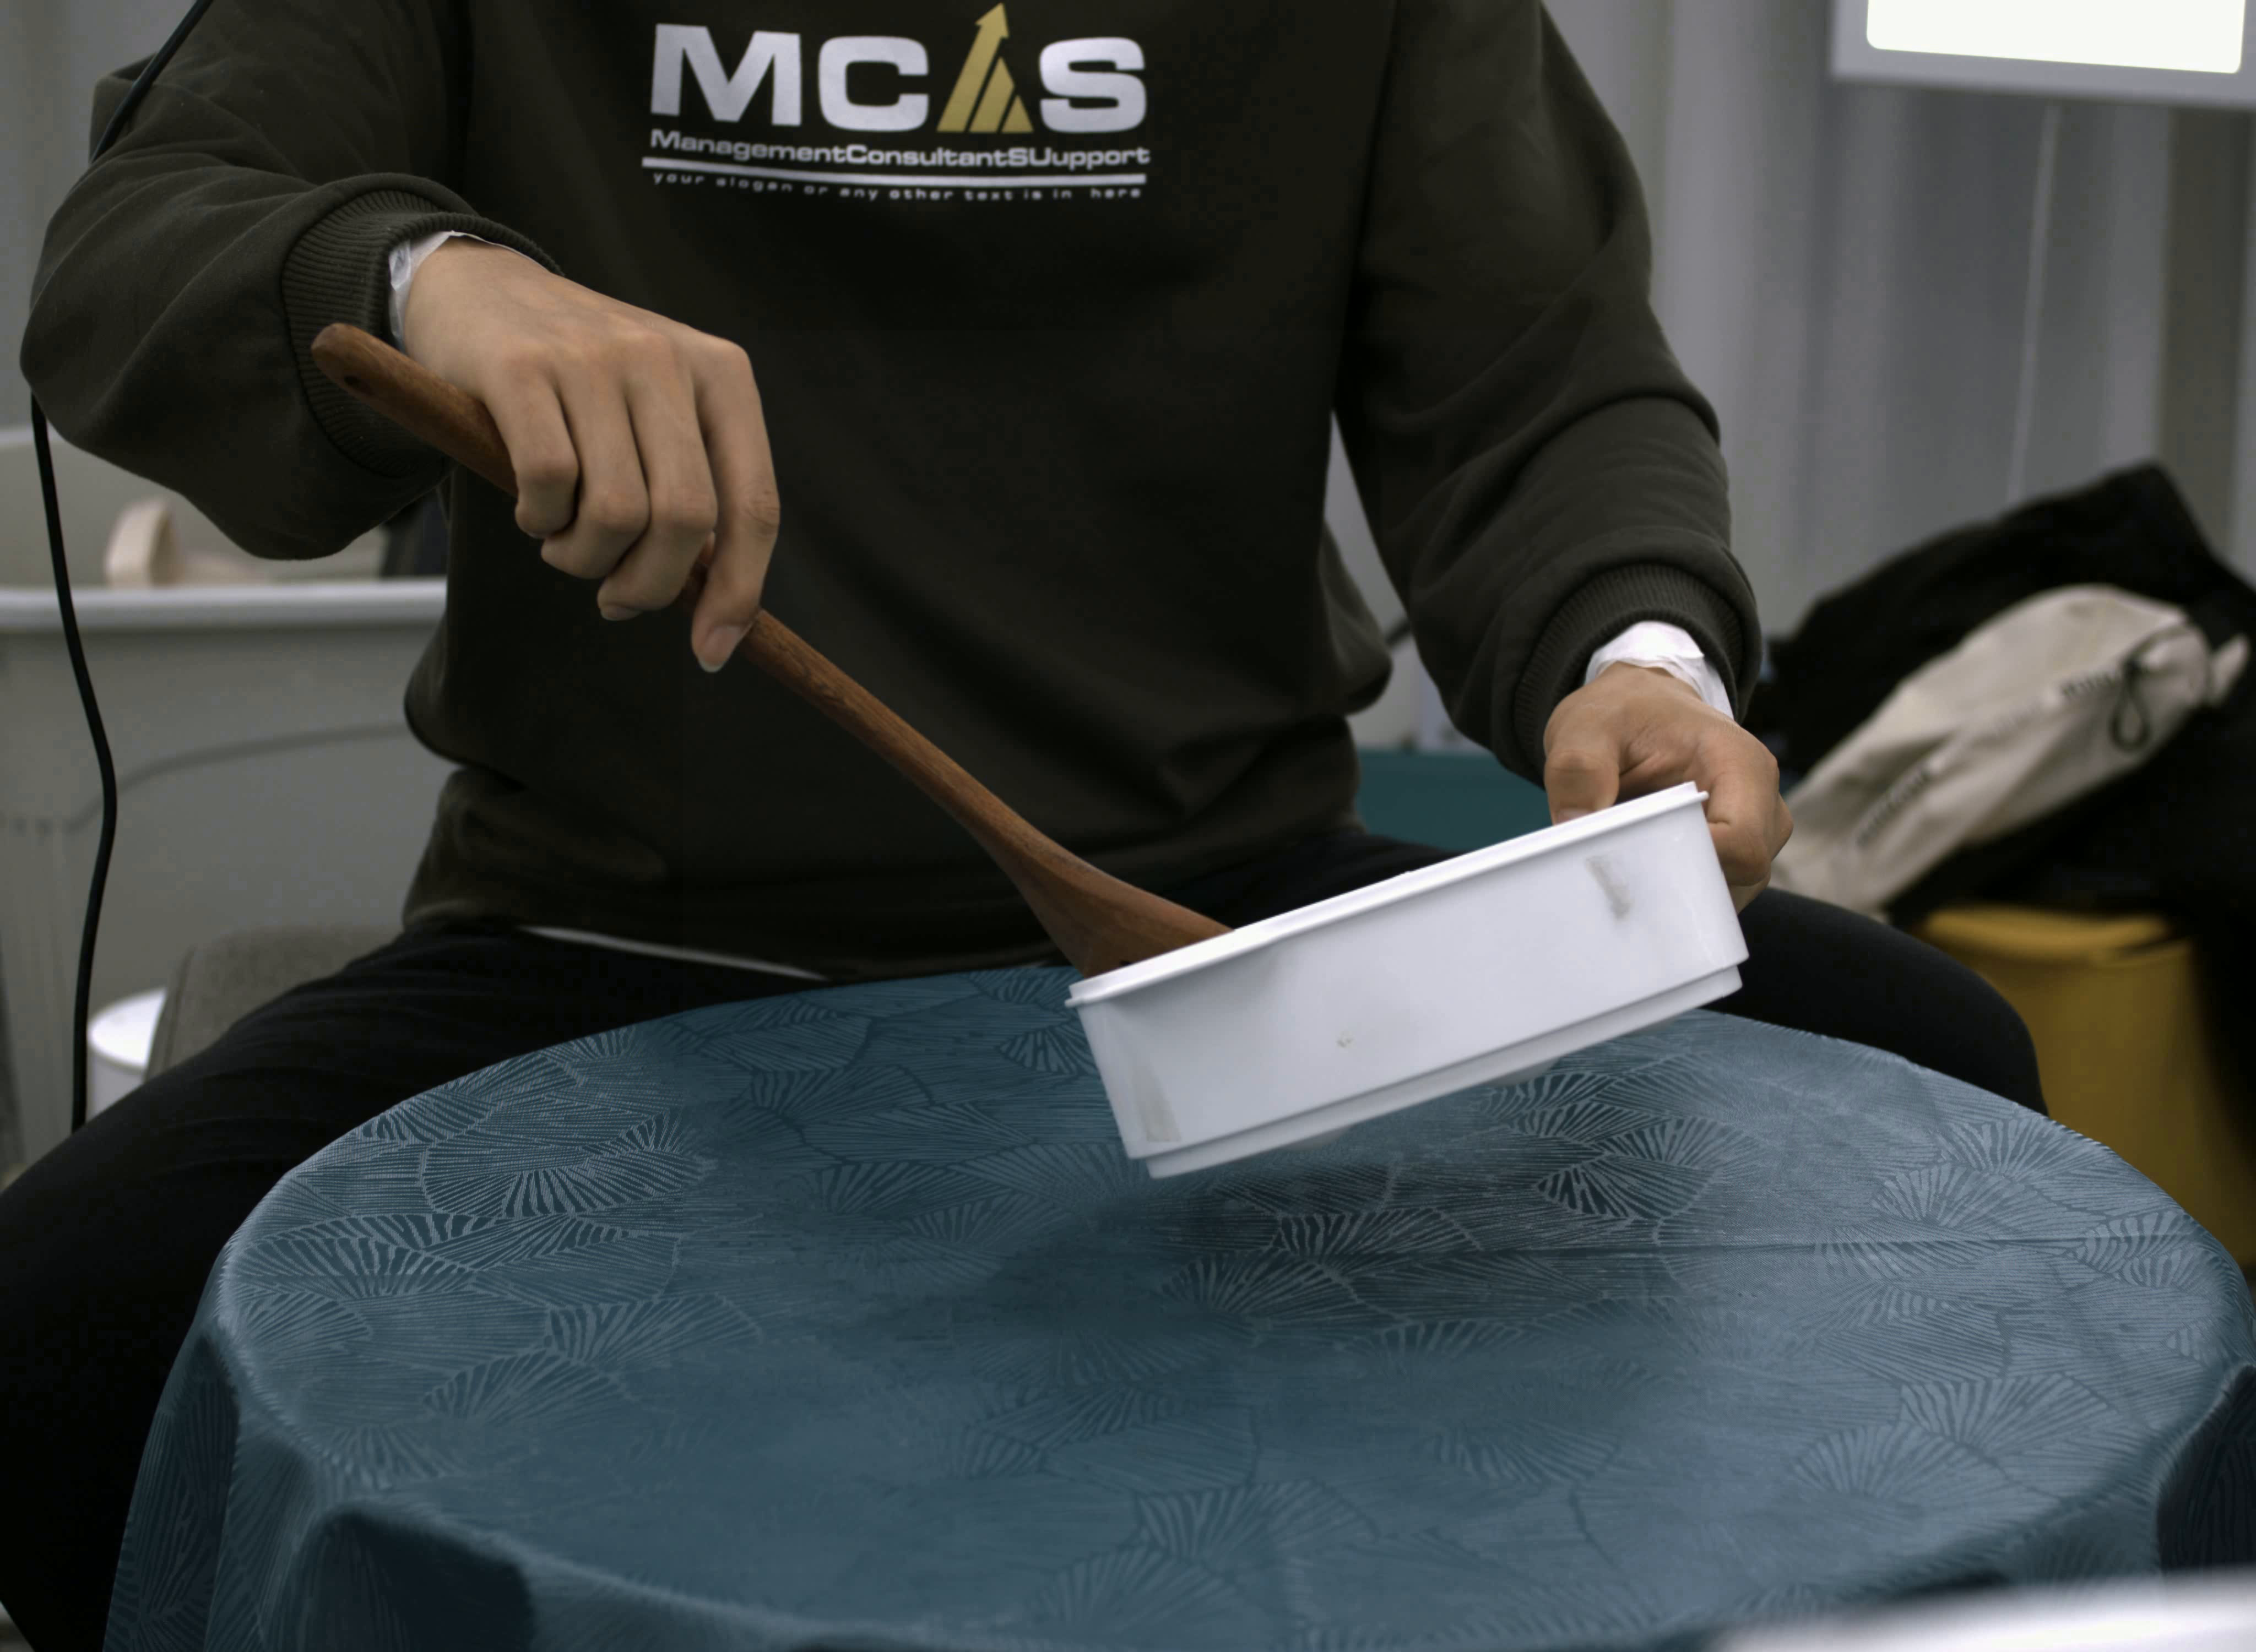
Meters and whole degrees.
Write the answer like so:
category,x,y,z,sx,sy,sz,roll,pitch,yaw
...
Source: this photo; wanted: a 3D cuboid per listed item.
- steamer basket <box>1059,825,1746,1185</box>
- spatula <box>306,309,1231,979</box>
category,x,y,z,sx,sy,sz,roll,pitch,yaw
steamer basket,0.083,0.056,1.555,0.200,0.069,0.232,-18,-7,42
spatula,-0.079,-0.031,1.529,0.387,0.023,0.085,37,-25,-14
